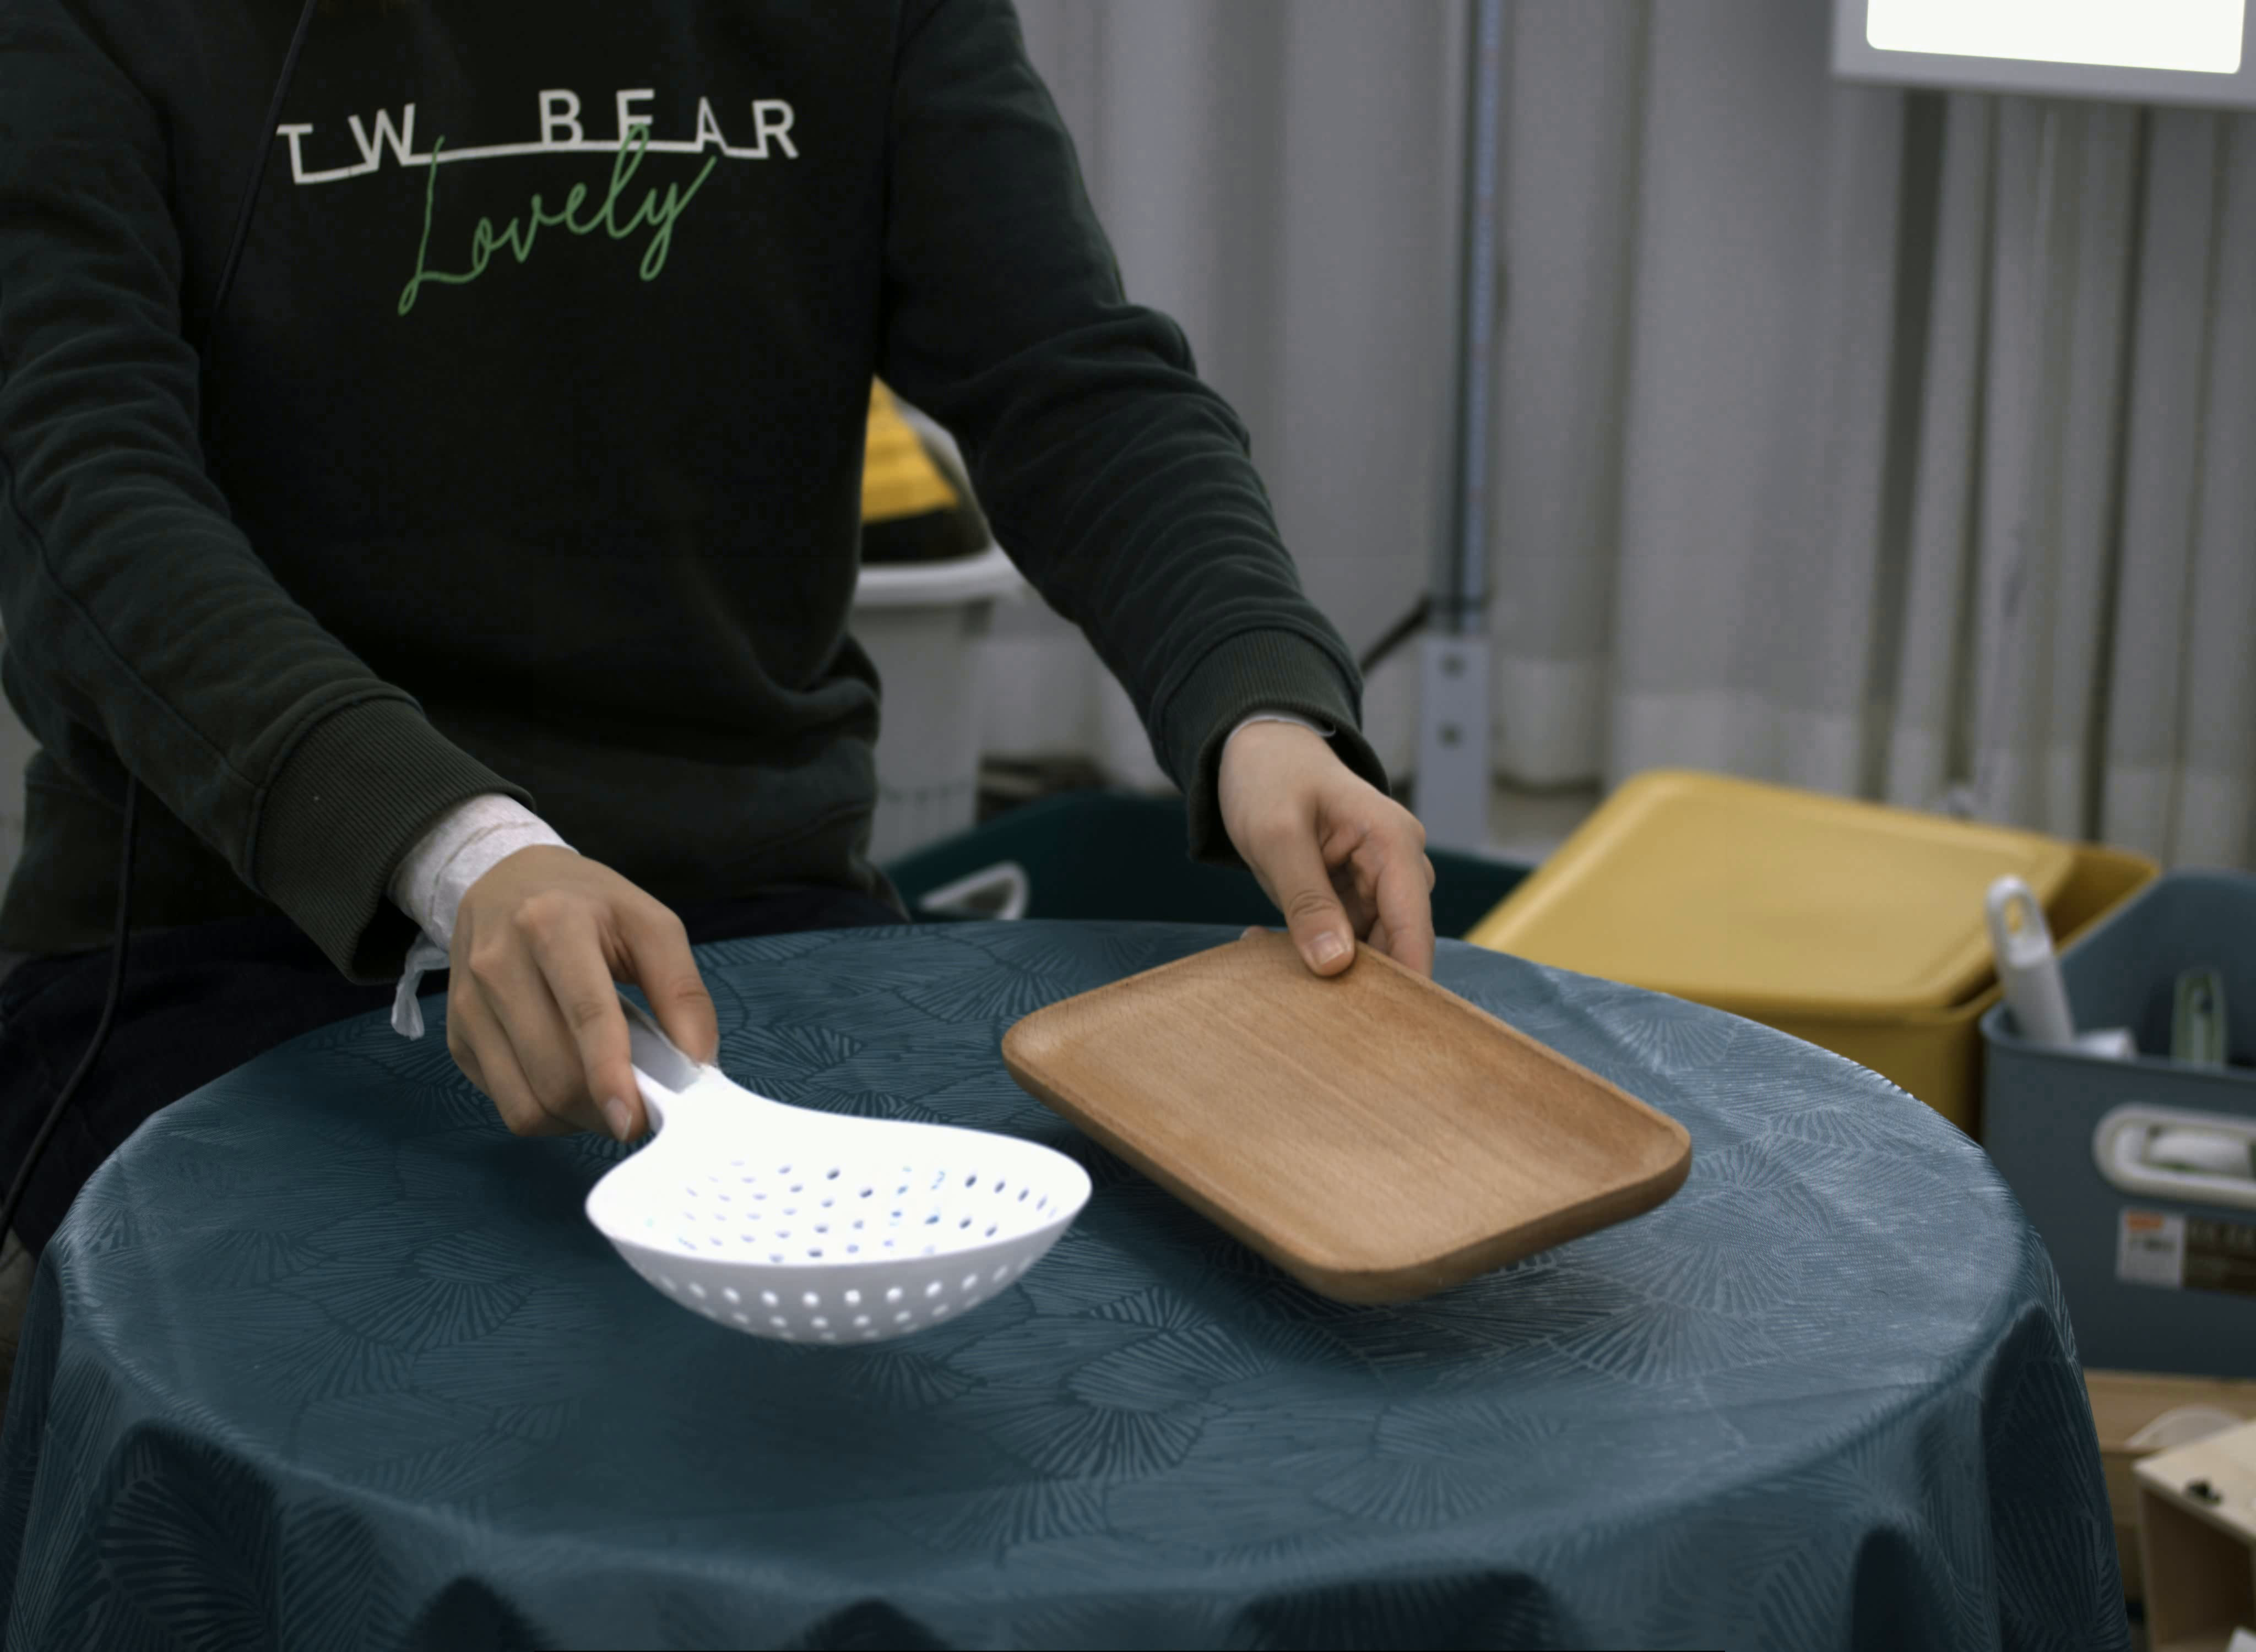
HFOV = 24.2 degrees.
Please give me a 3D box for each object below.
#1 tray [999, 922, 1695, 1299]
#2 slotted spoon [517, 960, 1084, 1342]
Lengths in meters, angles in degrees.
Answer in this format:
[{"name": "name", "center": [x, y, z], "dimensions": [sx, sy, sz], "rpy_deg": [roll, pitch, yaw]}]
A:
[{"name": "tray", "center": [0.062, 0.083, 1.594], "dimensions": [0.131, 0.023, 0.247], "rpy_deg": [-16, 21, -23]}, {"name": "slotted spoon", "center": [-0.119, 0.084, 1.515], "dimensions": [0.136, 0.046, 0.345], "rpy_deg": [-5, 18, -21]}]
